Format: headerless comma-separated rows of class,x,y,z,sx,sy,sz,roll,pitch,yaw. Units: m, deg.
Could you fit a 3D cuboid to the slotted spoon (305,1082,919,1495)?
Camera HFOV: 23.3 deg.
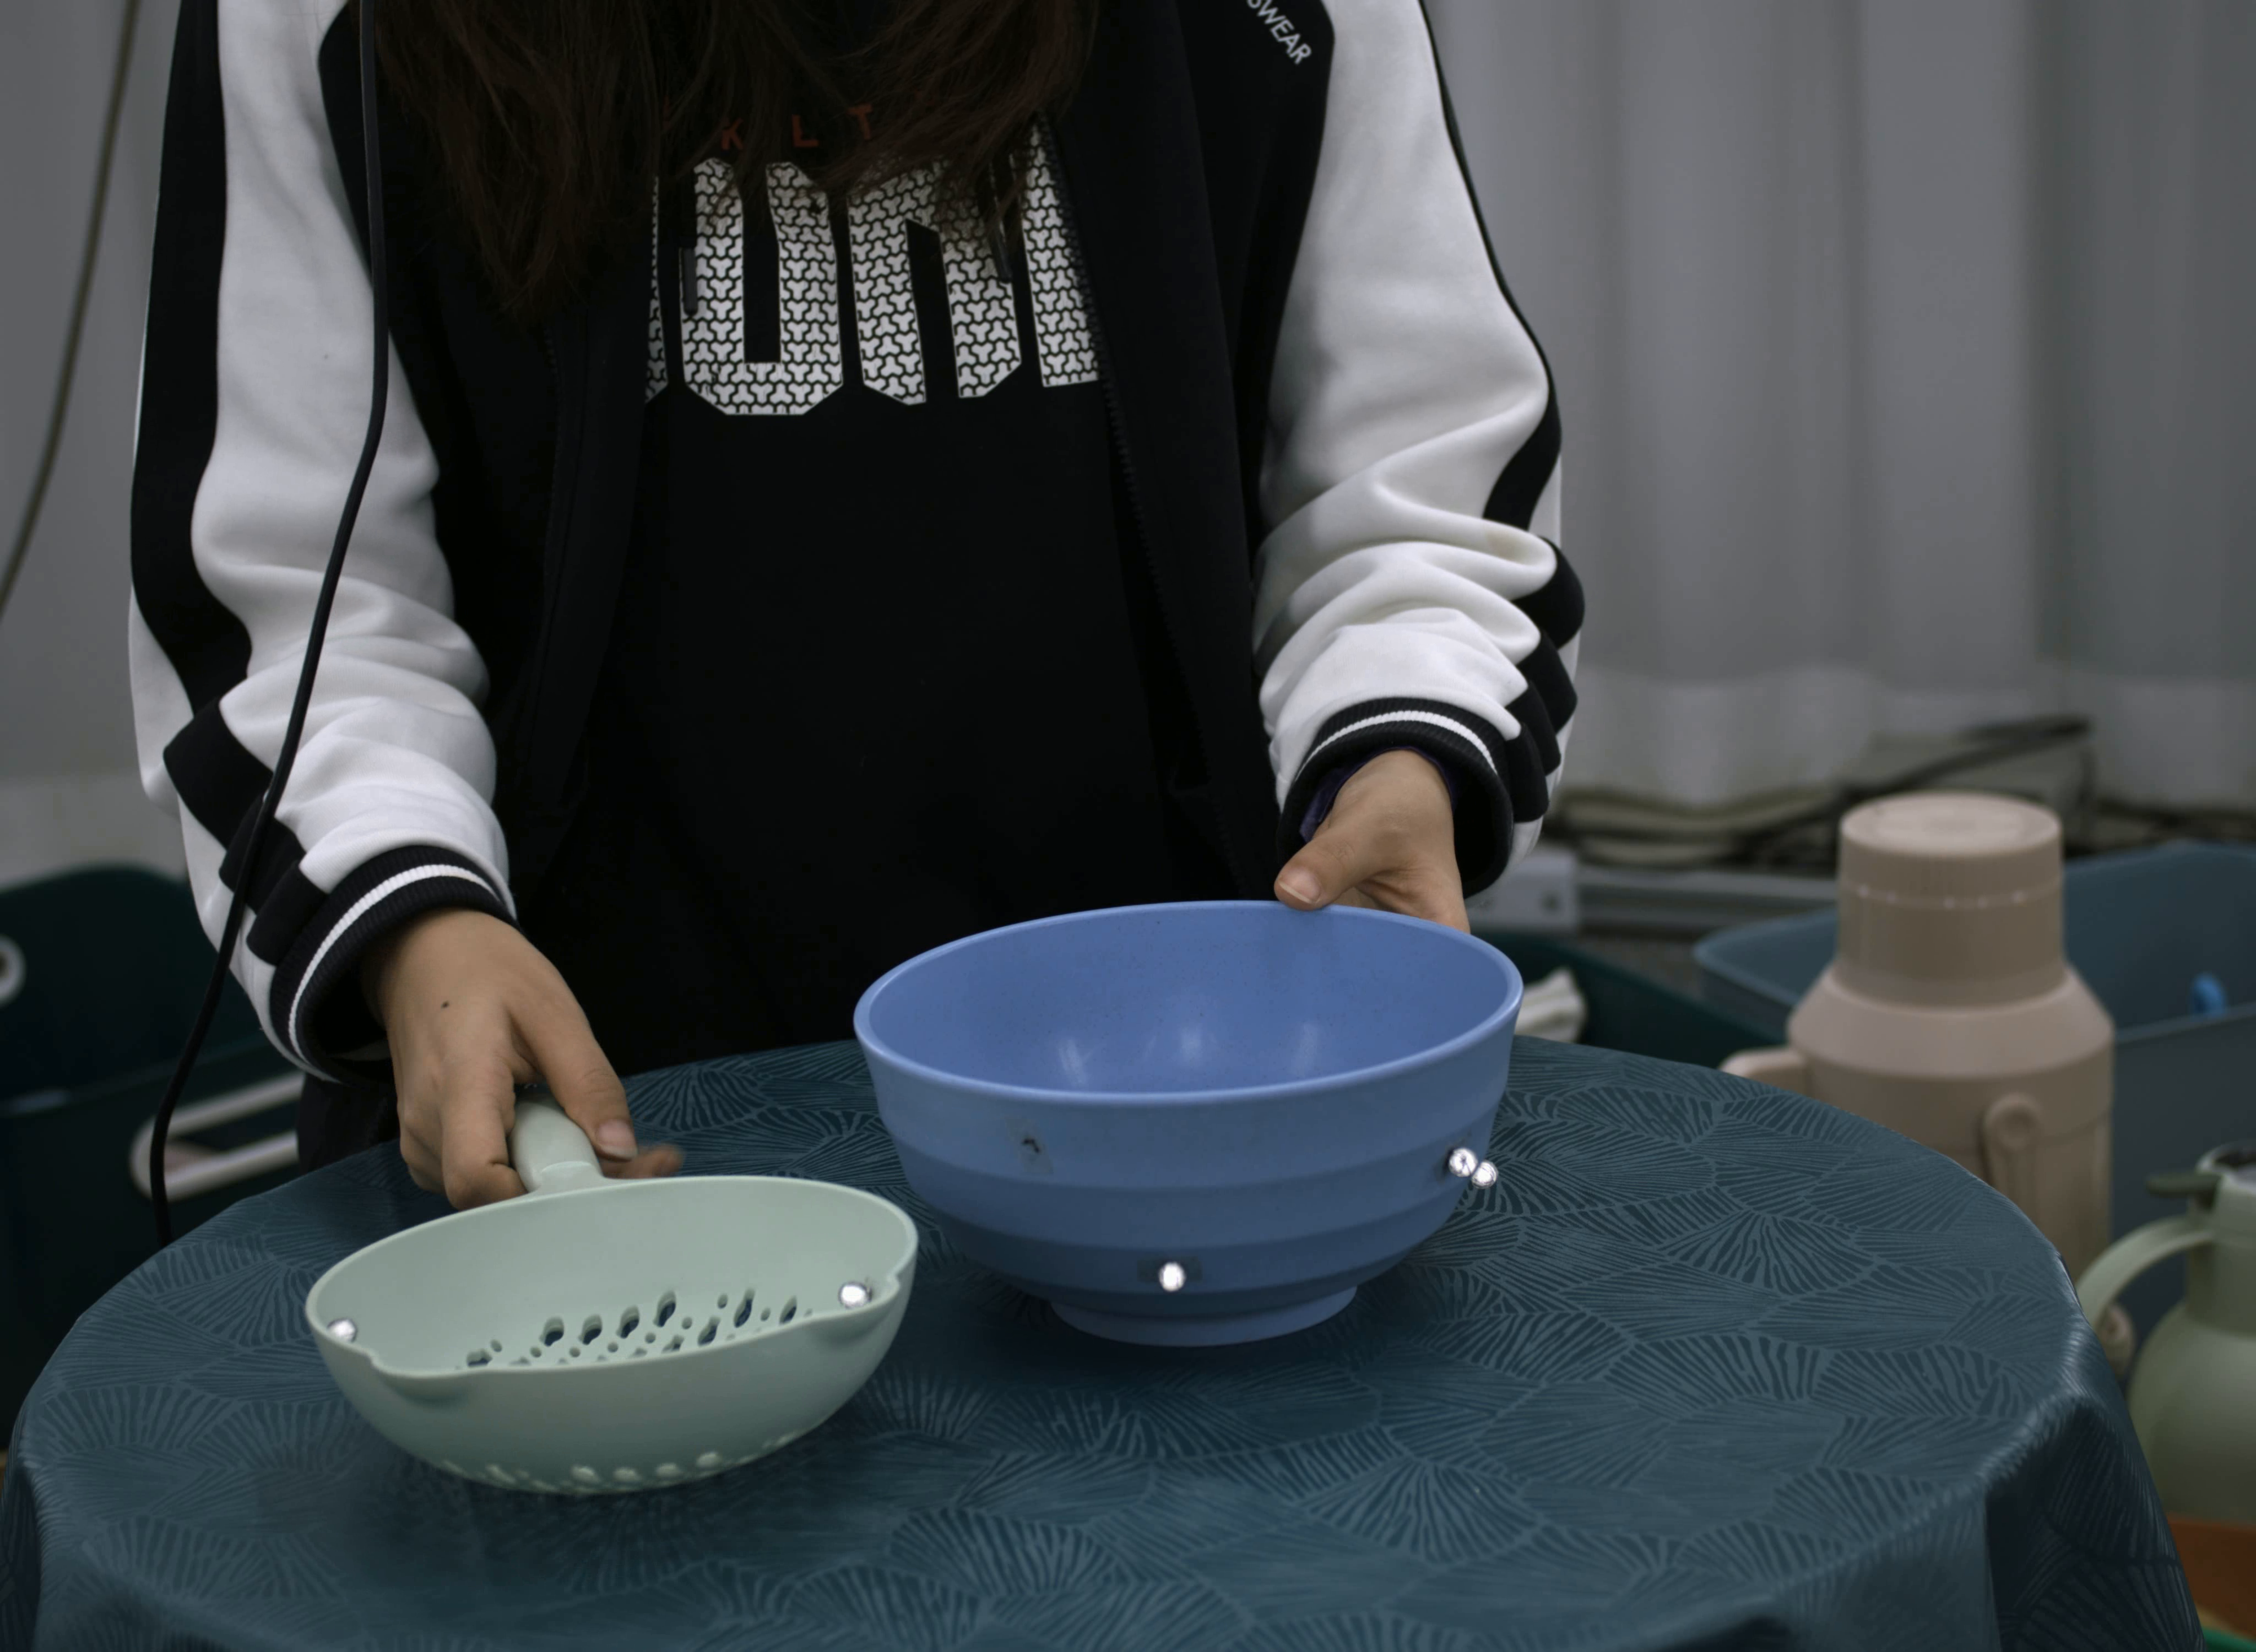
slotted spoon,-0.160,0.118,1.595,0.168,0.075,0.362,-7,18,-11

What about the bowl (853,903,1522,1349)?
bowl,0.020,0.094,1.607,0.196,0.095,0.198,-3,15,1
